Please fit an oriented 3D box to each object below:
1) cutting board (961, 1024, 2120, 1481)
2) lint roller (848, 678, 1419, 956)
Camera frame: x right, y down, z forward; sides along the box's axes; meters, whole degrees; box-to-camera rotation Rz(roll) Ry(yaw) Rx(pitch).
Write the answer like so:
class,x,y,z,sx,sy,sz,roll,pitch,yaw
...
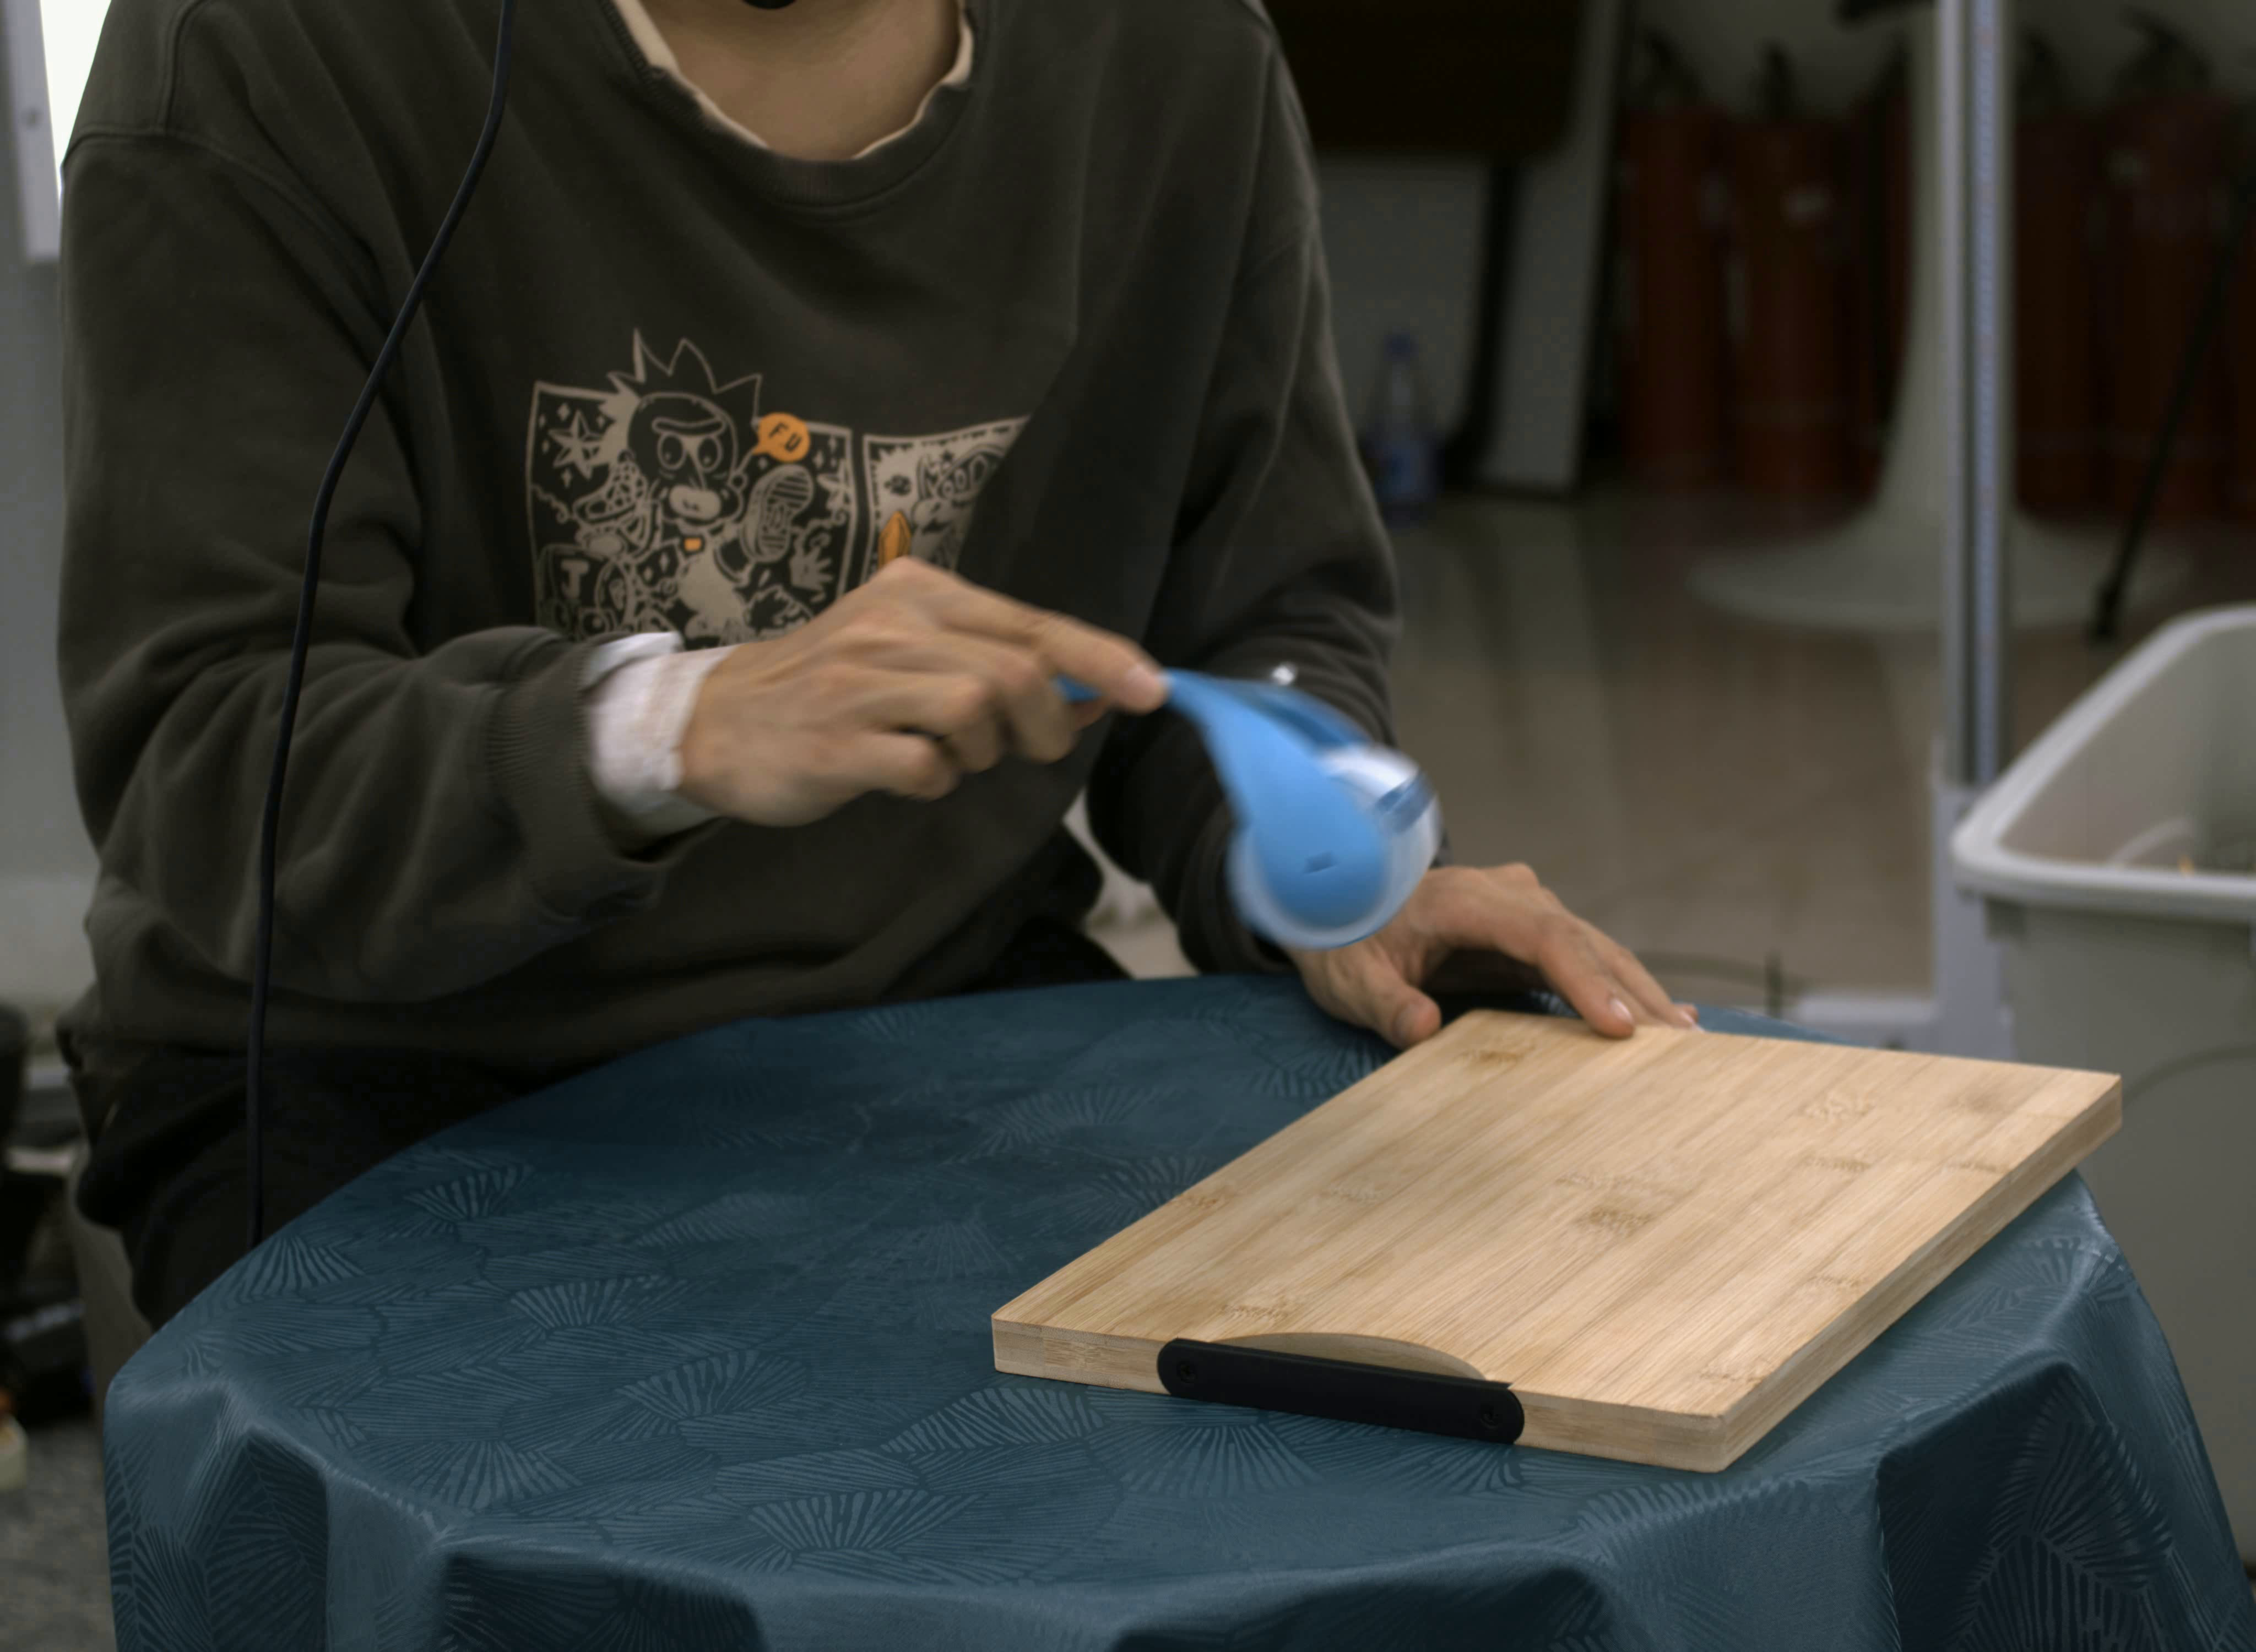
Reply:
class,x,y,z,sx,sy,sz,roll,pitch,yaw
cutting board,0.139,0.126,1.682,0.251,0.024,0.343,3,15,29
lint roller,0.005,-0.014,1.677,0.179,0.068,0.228,24,4,5
